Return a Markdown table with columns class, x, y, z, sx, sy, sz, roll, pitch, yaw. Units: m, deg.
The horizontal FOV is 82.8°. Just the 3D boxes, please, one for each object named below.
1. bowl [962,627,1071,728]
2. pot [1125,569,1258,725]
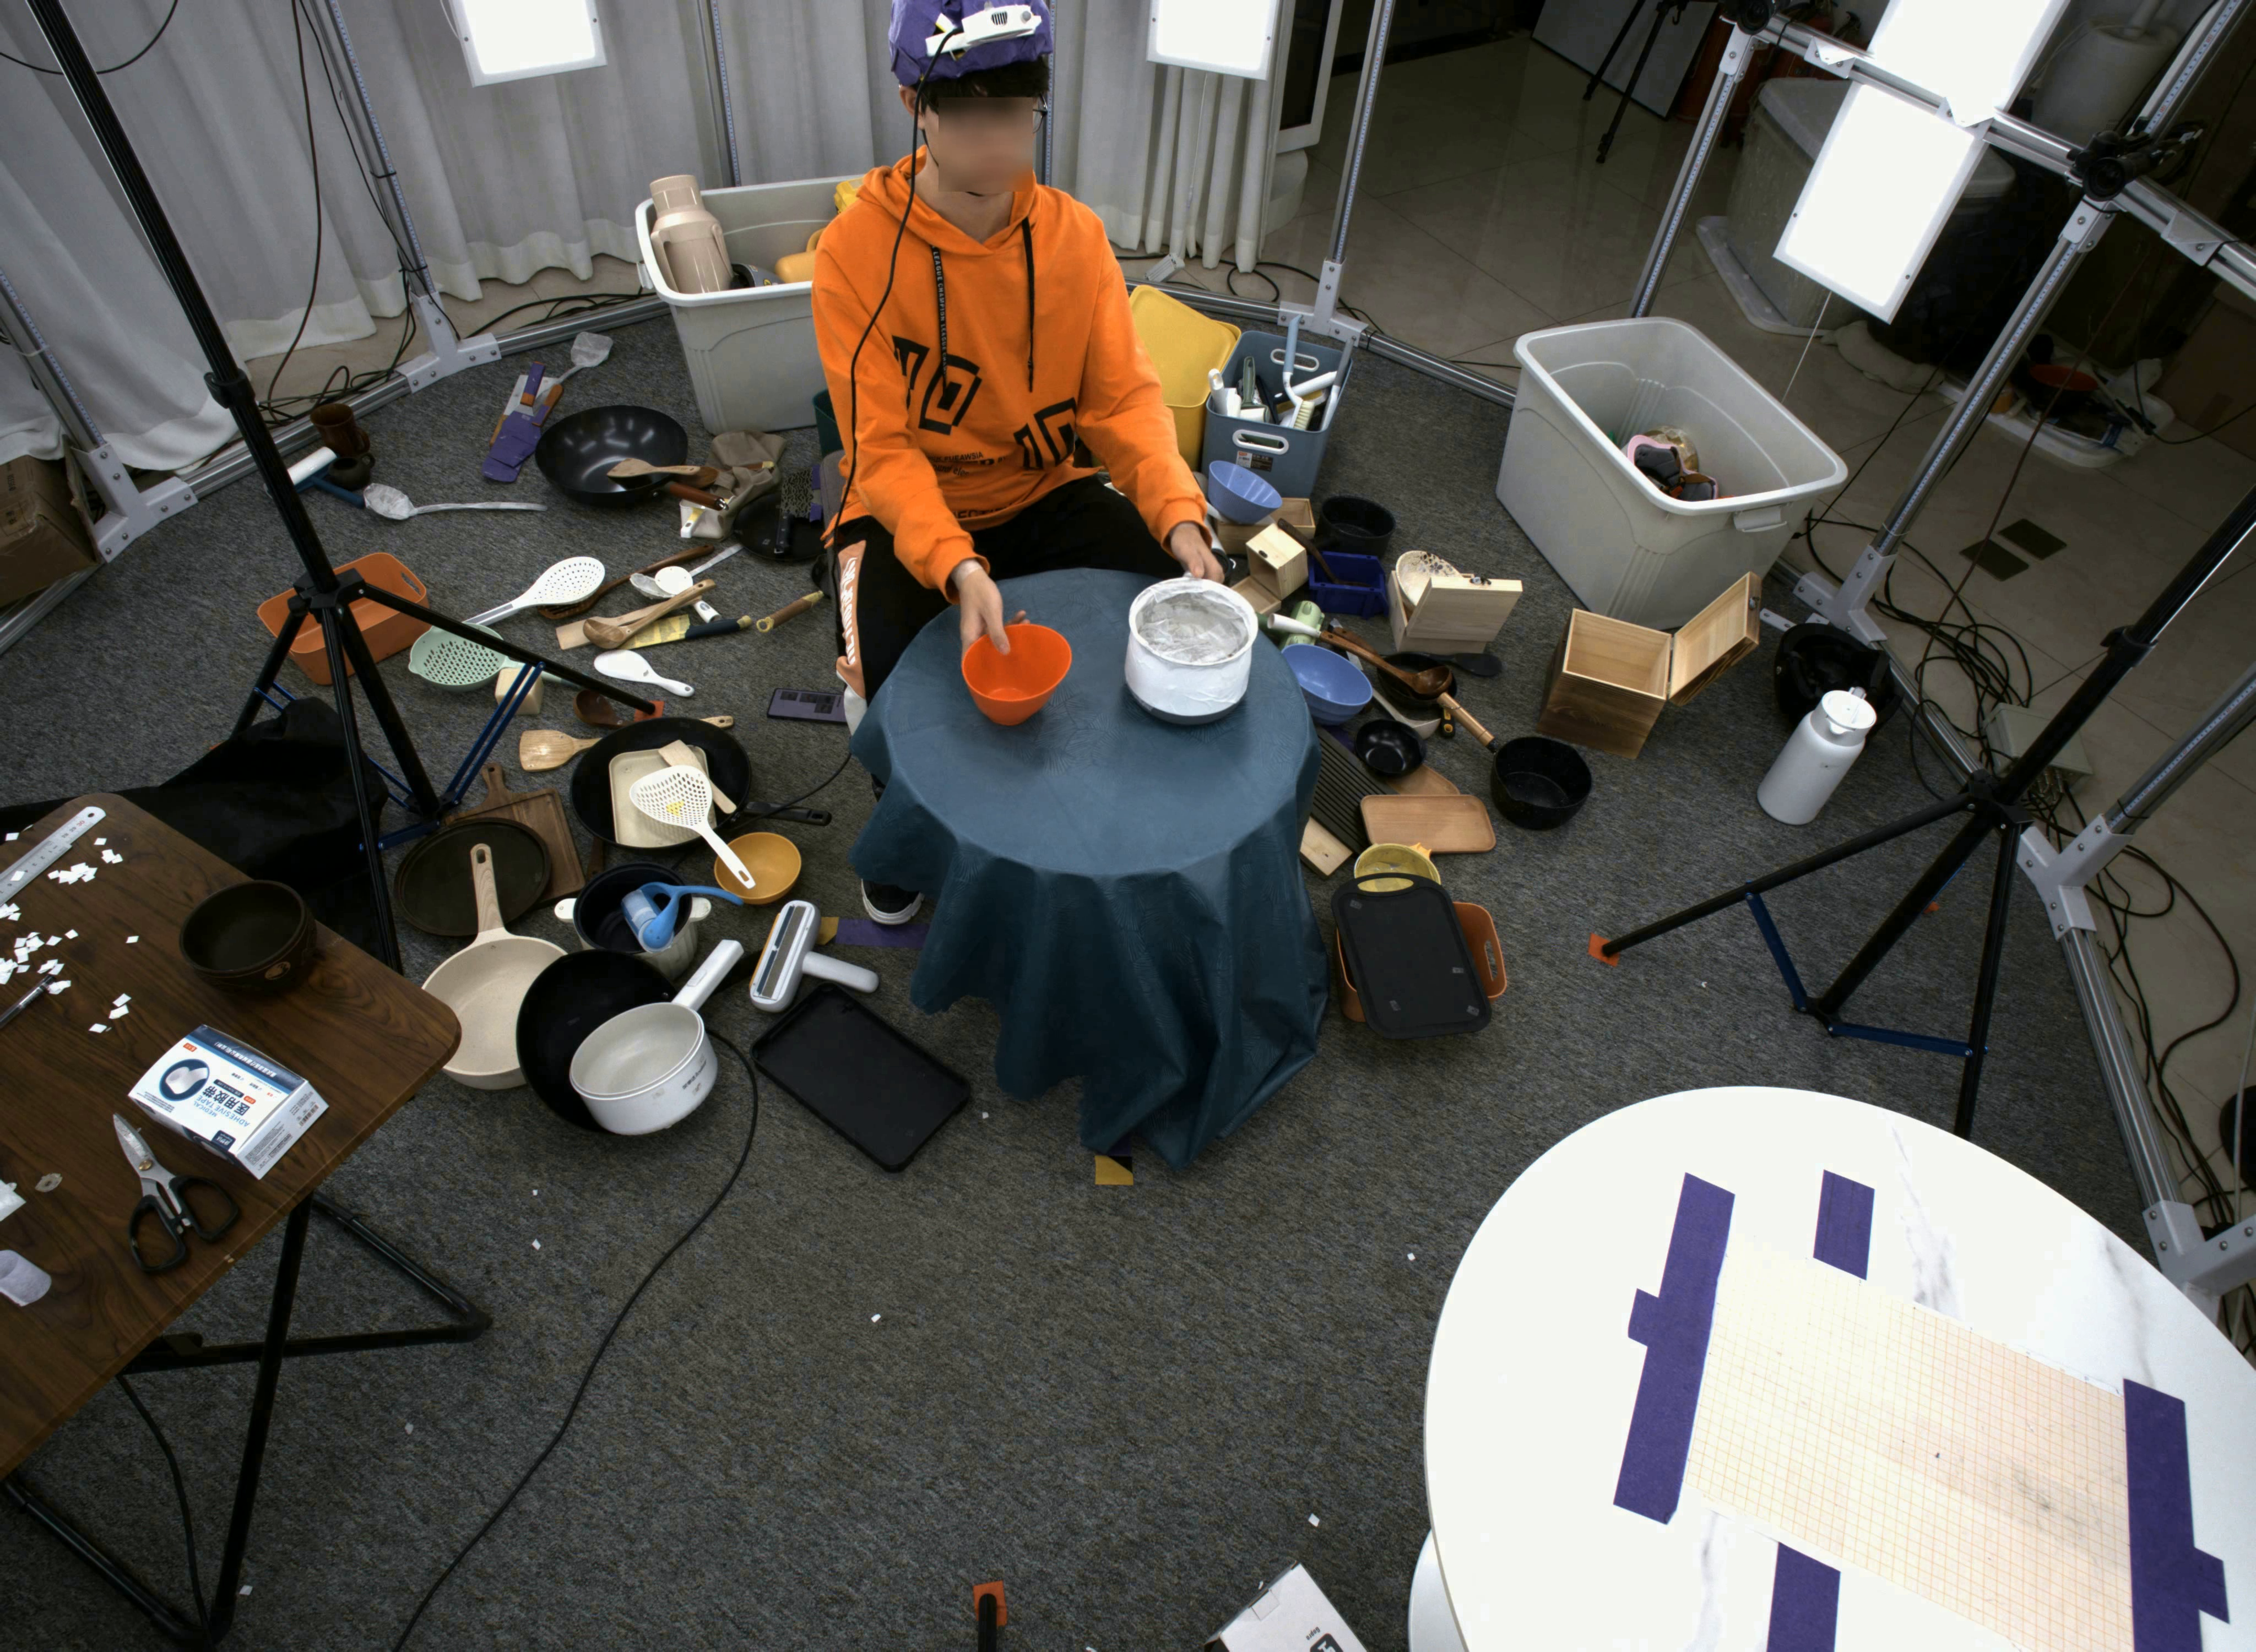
| class | x | y | z | sx | sy | sz | roll | pitch | yaw |
| --- | --- | --- | --- | --- | --- | --- | --- | --- | --- |
| bowl | -0.153 | -0.194 | 1.764 | 0.148 | 0.102 | 0.152 | 2 | 50 | -3 |
| pot | 0.085 | -0.262 | 1.813 | 0.178 | 0.133 | 0.239 | 3 | 49 | -2 |
